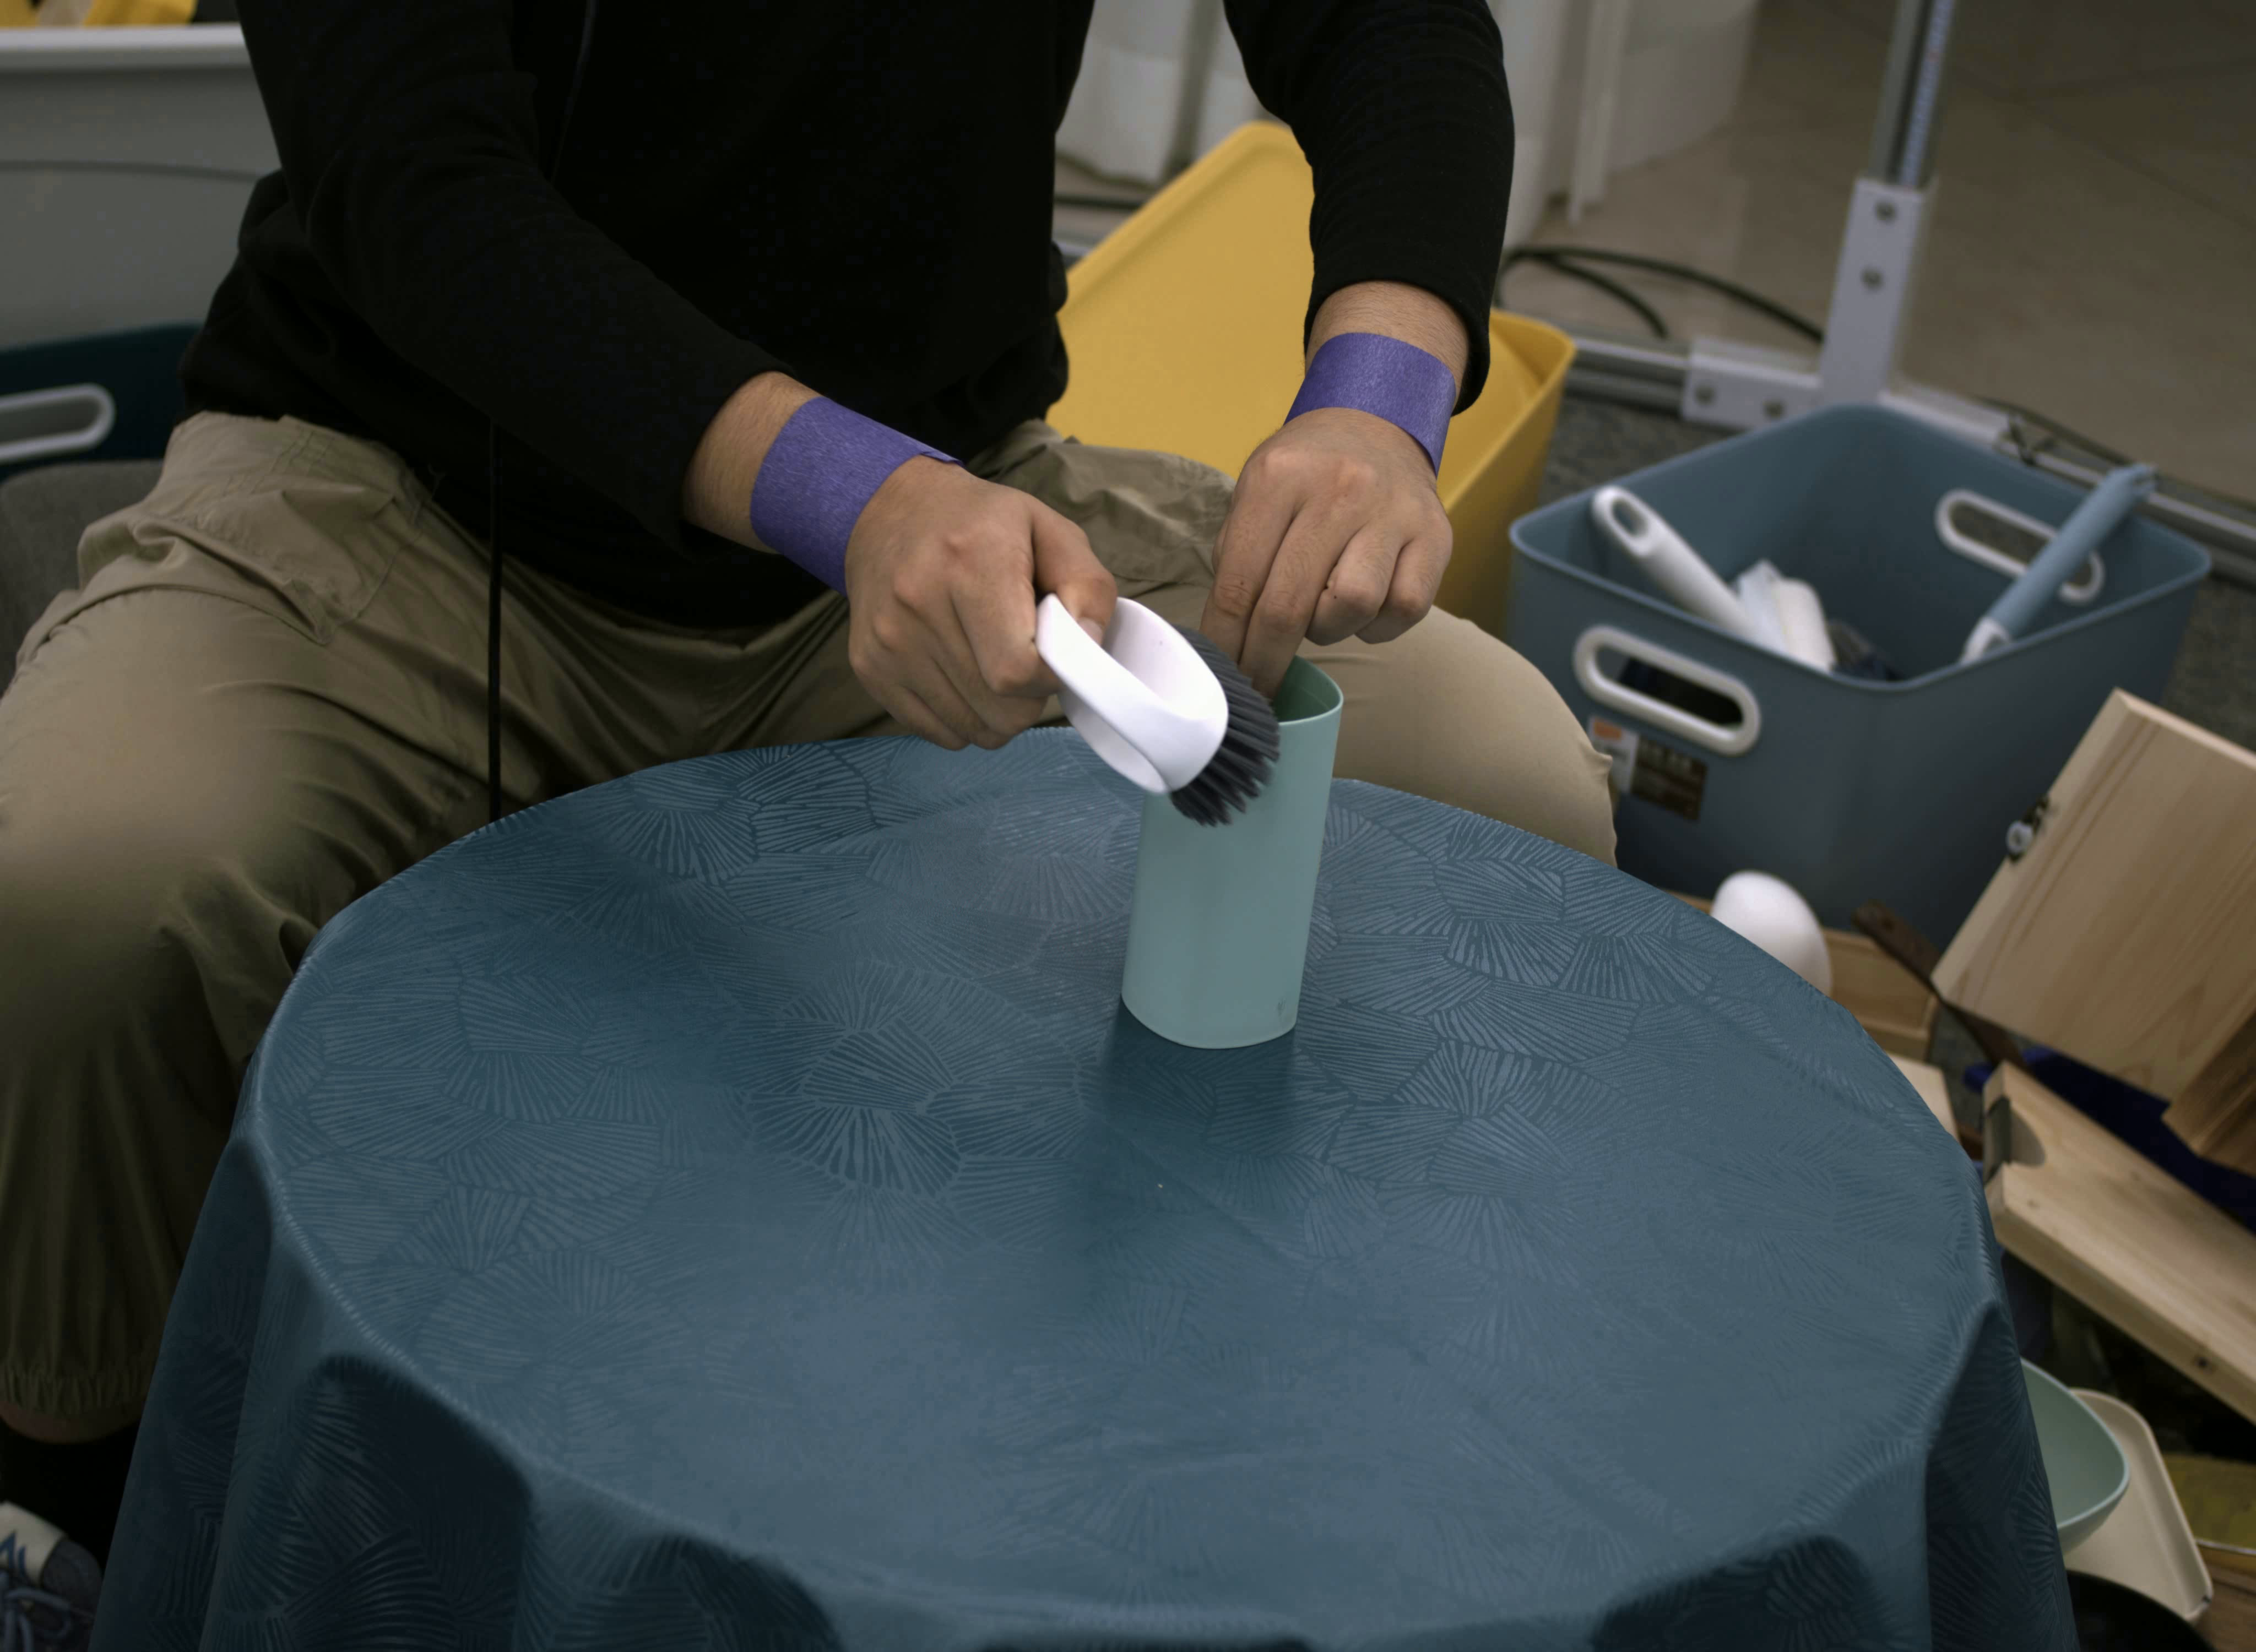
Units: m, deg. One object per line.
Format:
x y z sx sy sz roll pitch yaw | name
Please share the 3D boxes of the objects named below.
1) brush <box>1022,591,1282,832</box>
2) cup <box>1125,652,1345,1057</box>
0.000 -0.047 1.821 0.072 0.050 0.100 30 14 -37 | brush
0.036 0.010 1.895 0.066 0.132 0.067 5 27 -3 | cup
